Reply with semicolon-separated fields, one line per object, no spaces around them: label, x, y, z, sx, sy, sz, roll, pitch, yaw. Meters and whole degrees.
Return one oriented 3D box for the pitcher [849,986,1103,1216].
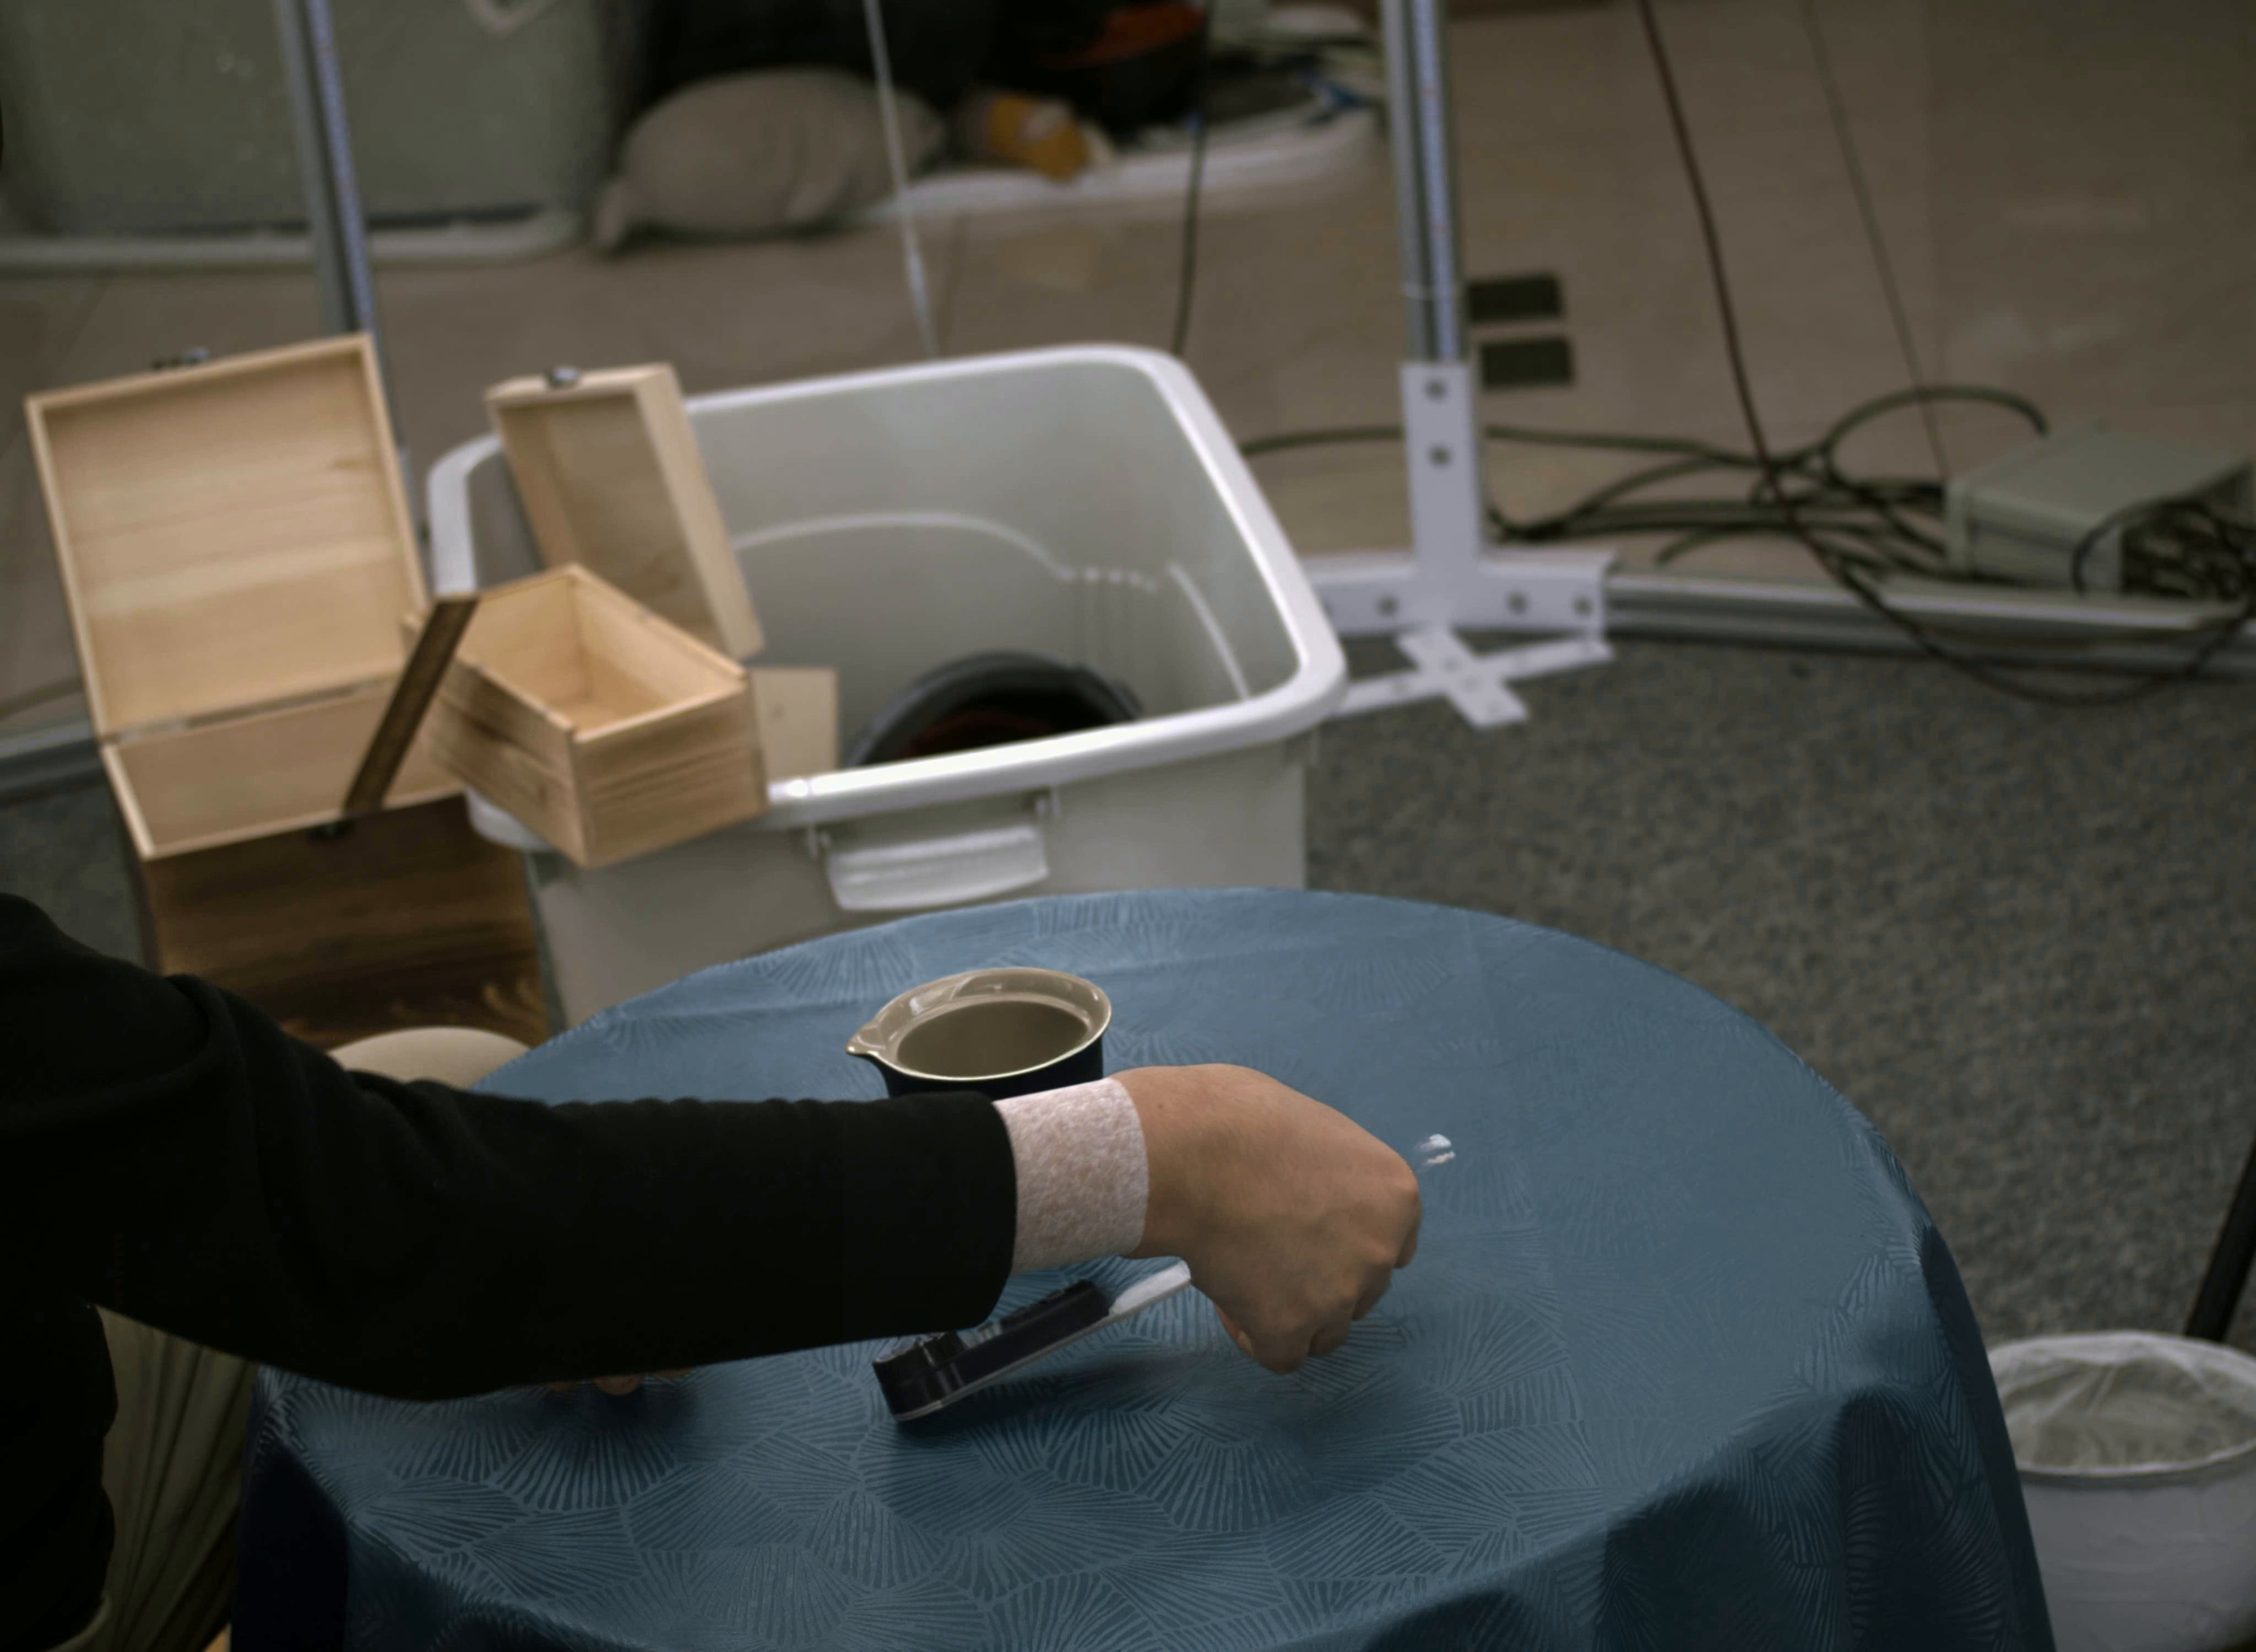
pitcher;-0.054;0.106;2.146;0.096;0.072;0.082;-7;26;-2

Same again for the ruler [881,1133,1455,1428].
ruler;0.013;0.154;2.018;0.217;0.024;0.038;-26;14;-7
